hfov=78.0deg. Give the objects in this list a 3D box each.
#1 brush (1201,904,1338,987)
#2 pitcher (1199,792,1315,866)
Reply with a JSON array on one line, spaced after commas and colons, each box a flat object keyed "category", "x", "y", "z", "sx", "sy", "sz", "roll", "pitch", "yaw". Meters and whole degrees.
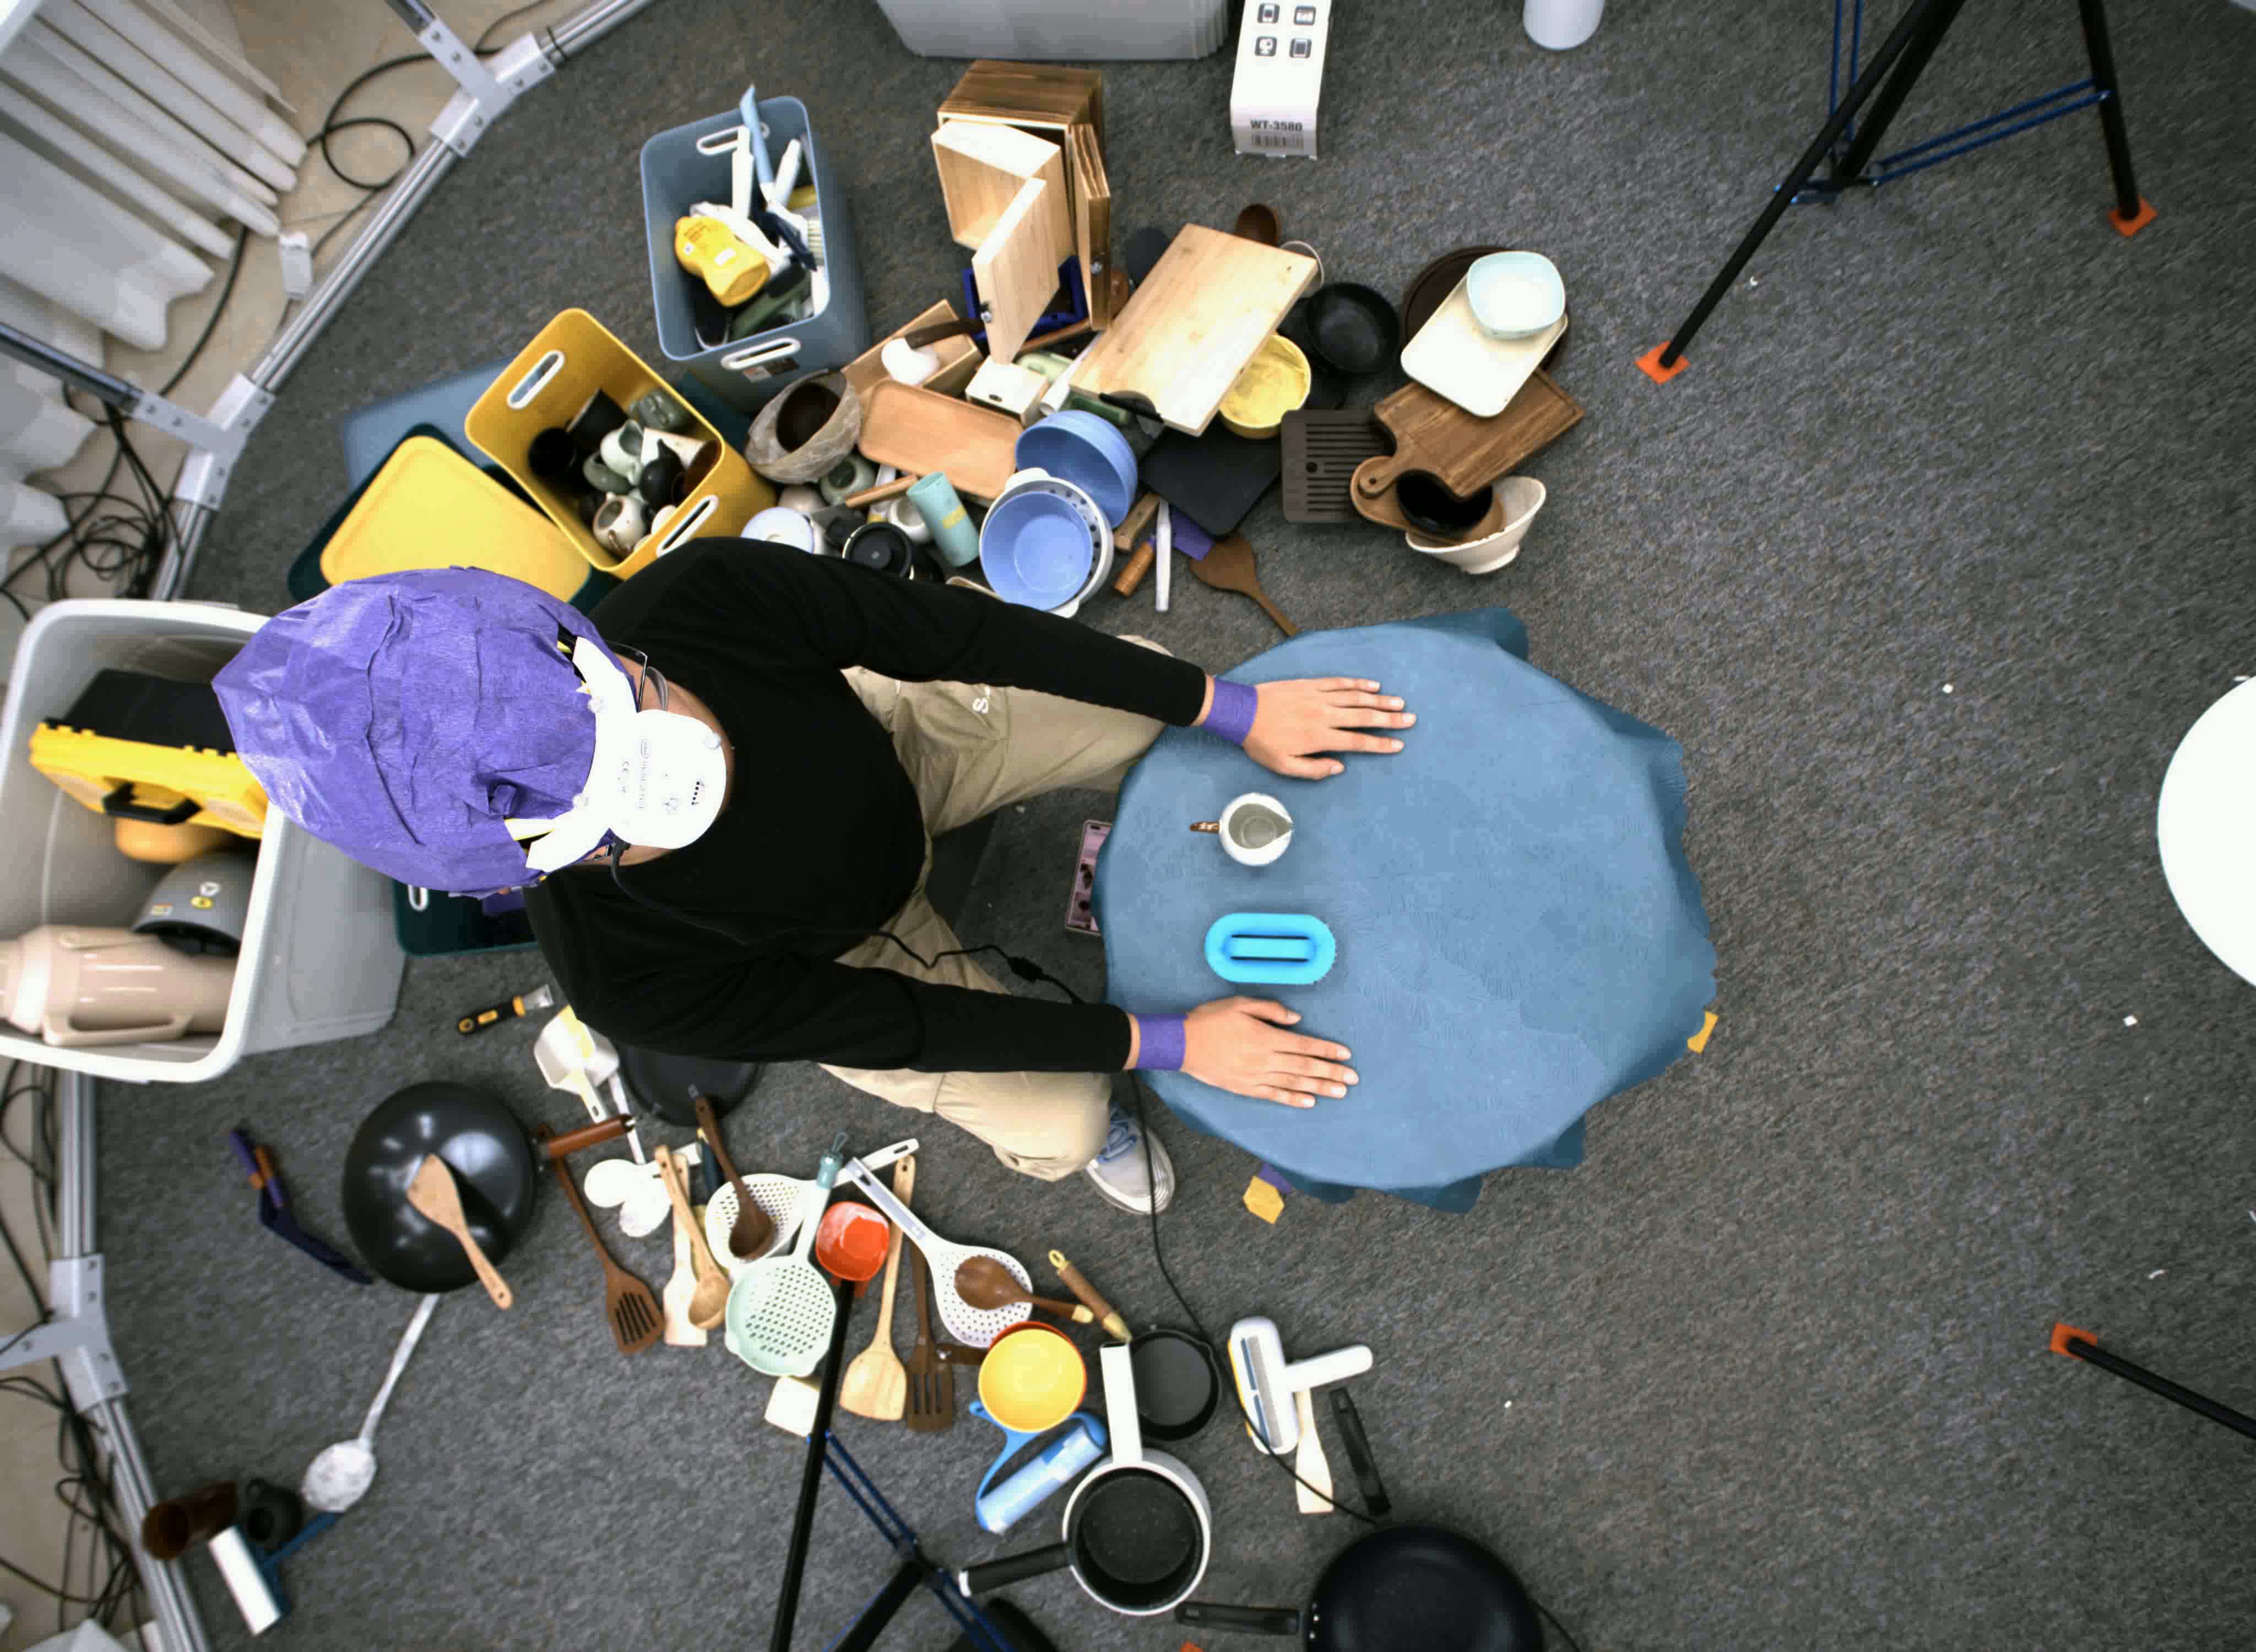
[{"category": "brush", "x": 0.146, "y": 0.124, "z": 1.445, "sx": 0.142, "sy": 0.063, "sz": 0.084, "roll": 2, "pitch": 91, "yaw": 11}, {"category": "pitcher", "x": 0.134, "y": 0.003, "z": 1.444, "sx": 0.119, "sy": 0.088, "sz": 0.075, "roll": 5, "pitch": 80, "yaw": 7}]
